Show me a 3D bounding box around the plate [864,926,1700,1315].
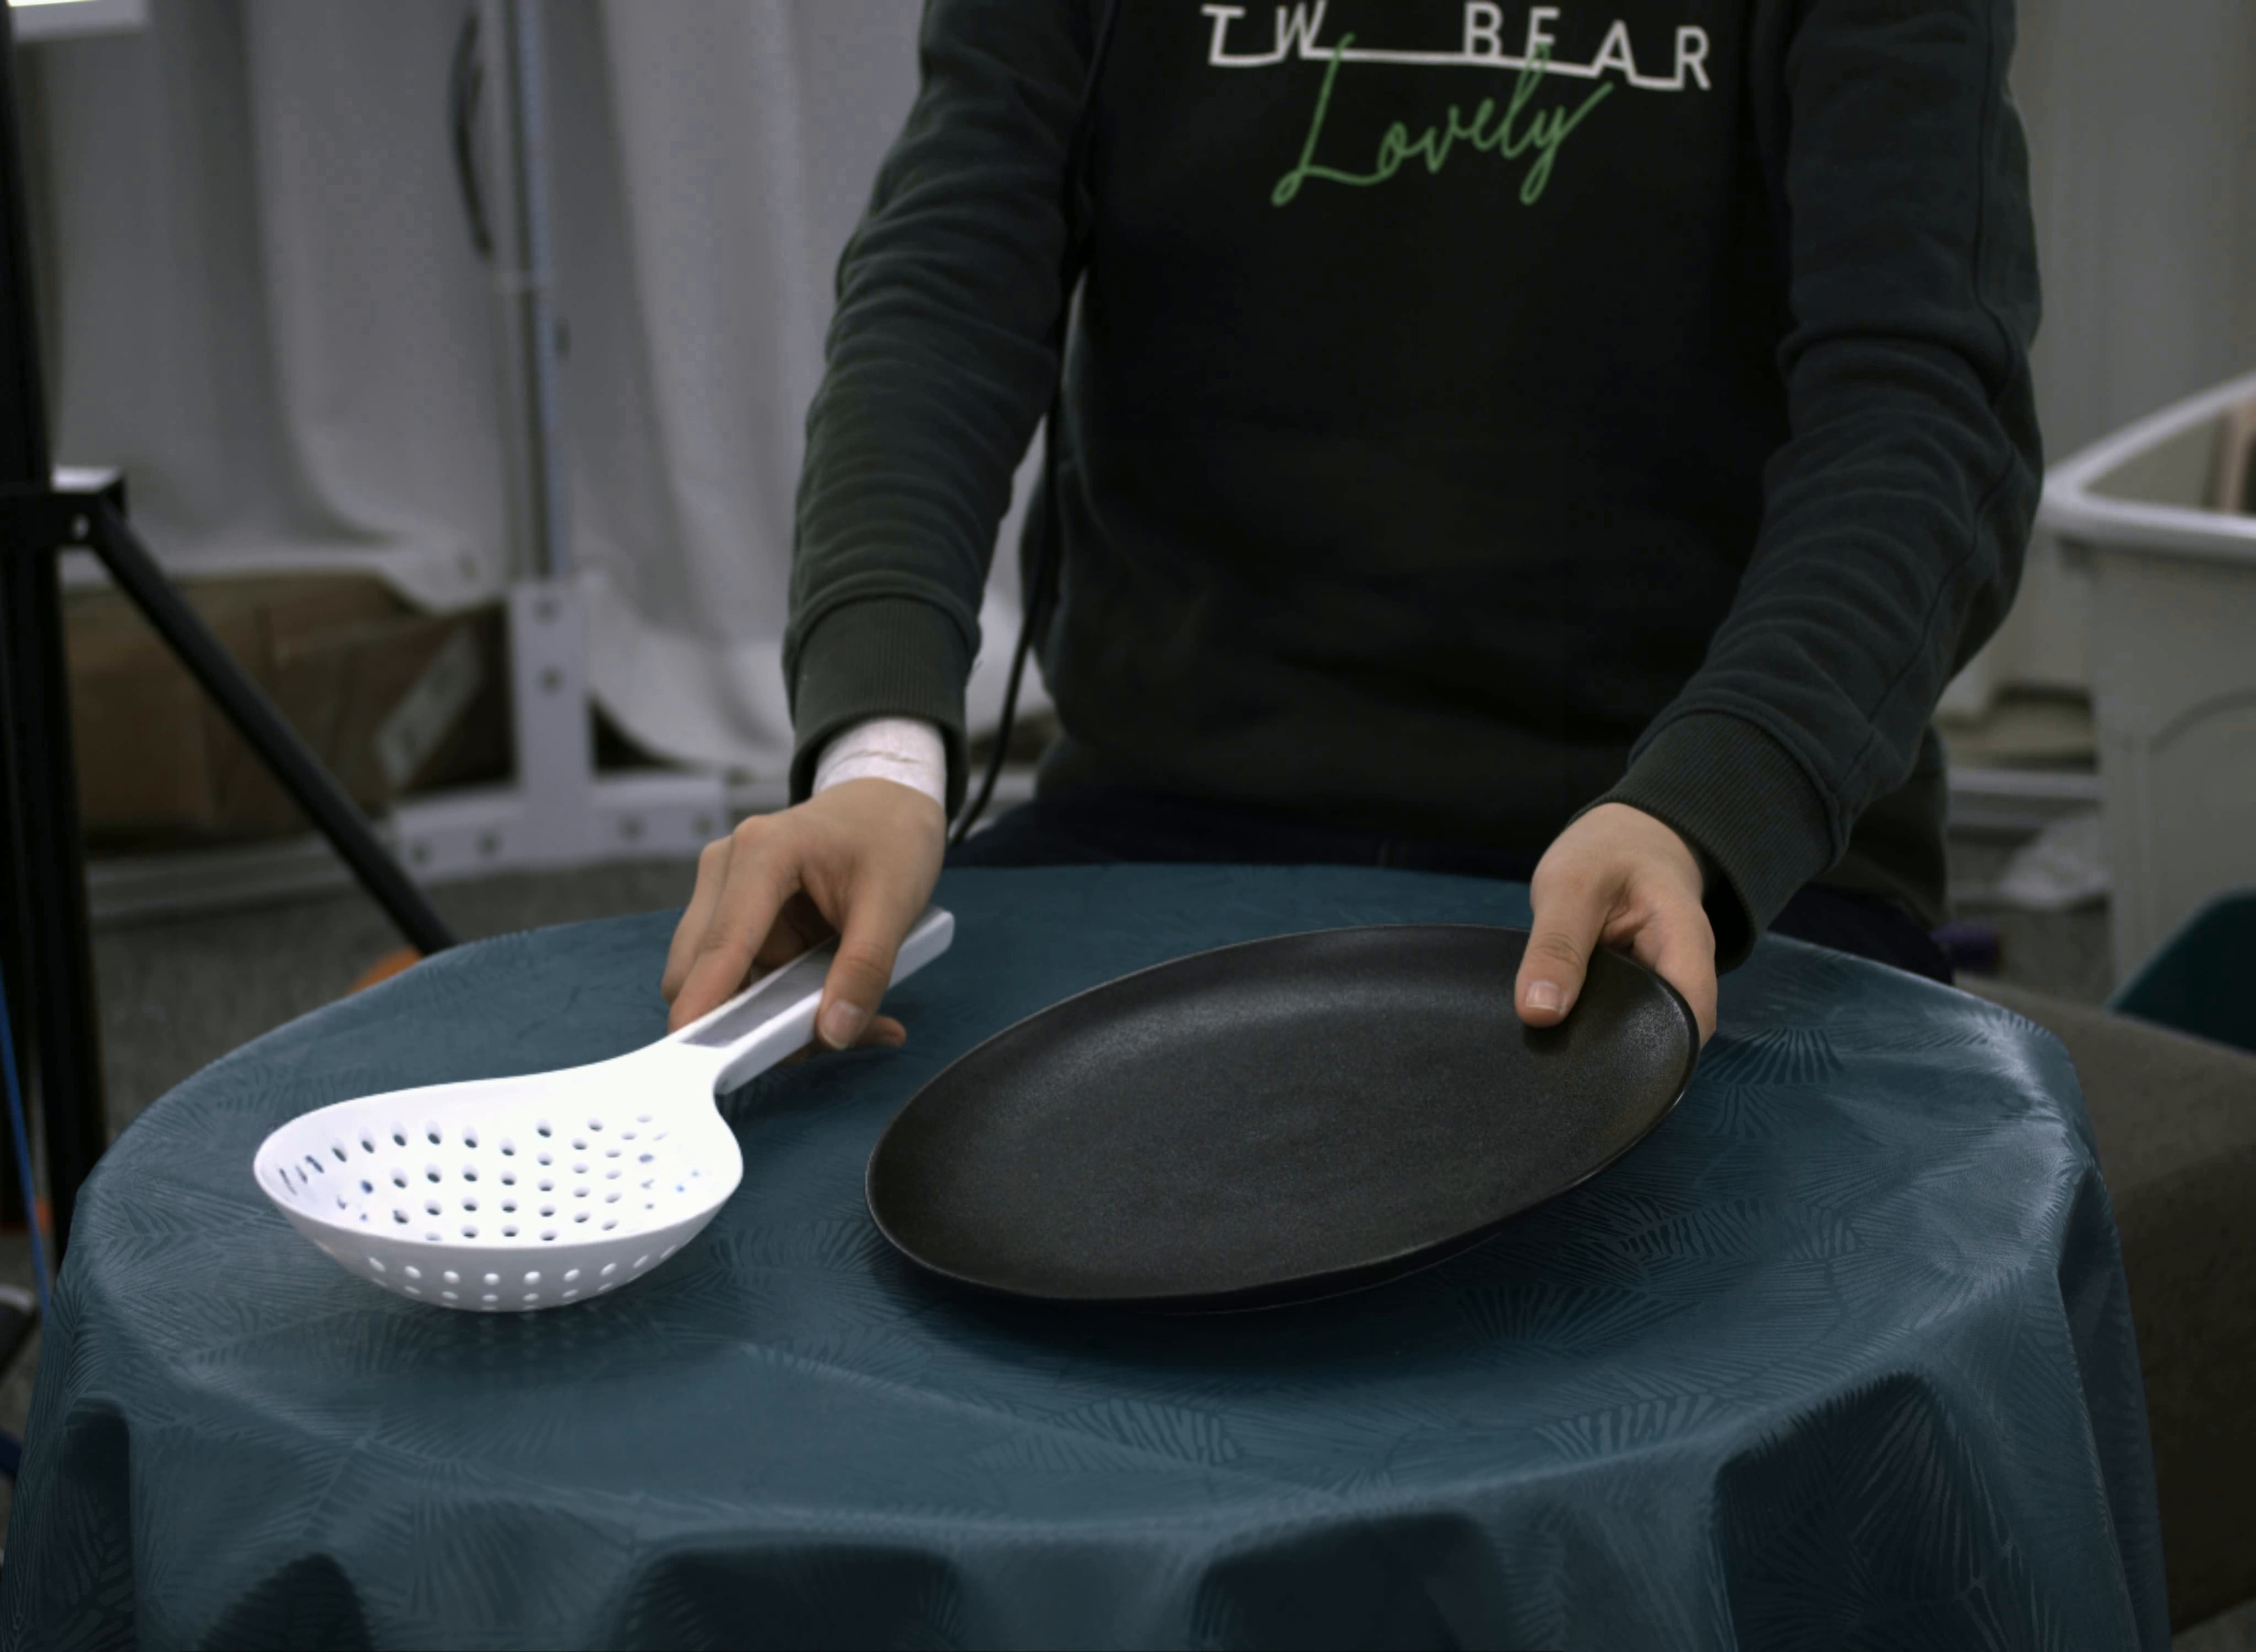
[{"bbox_3d":[0.045,0.088,1.519,0.244,0.023,0.246,-12,20,3],"label":"plate"}]

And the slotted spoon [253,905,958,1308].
[{"bbox_3d":[-0.135,0.075,1.589,0.138,0.046,0.345,9,22,22],"label":"slotted spoon"}]
